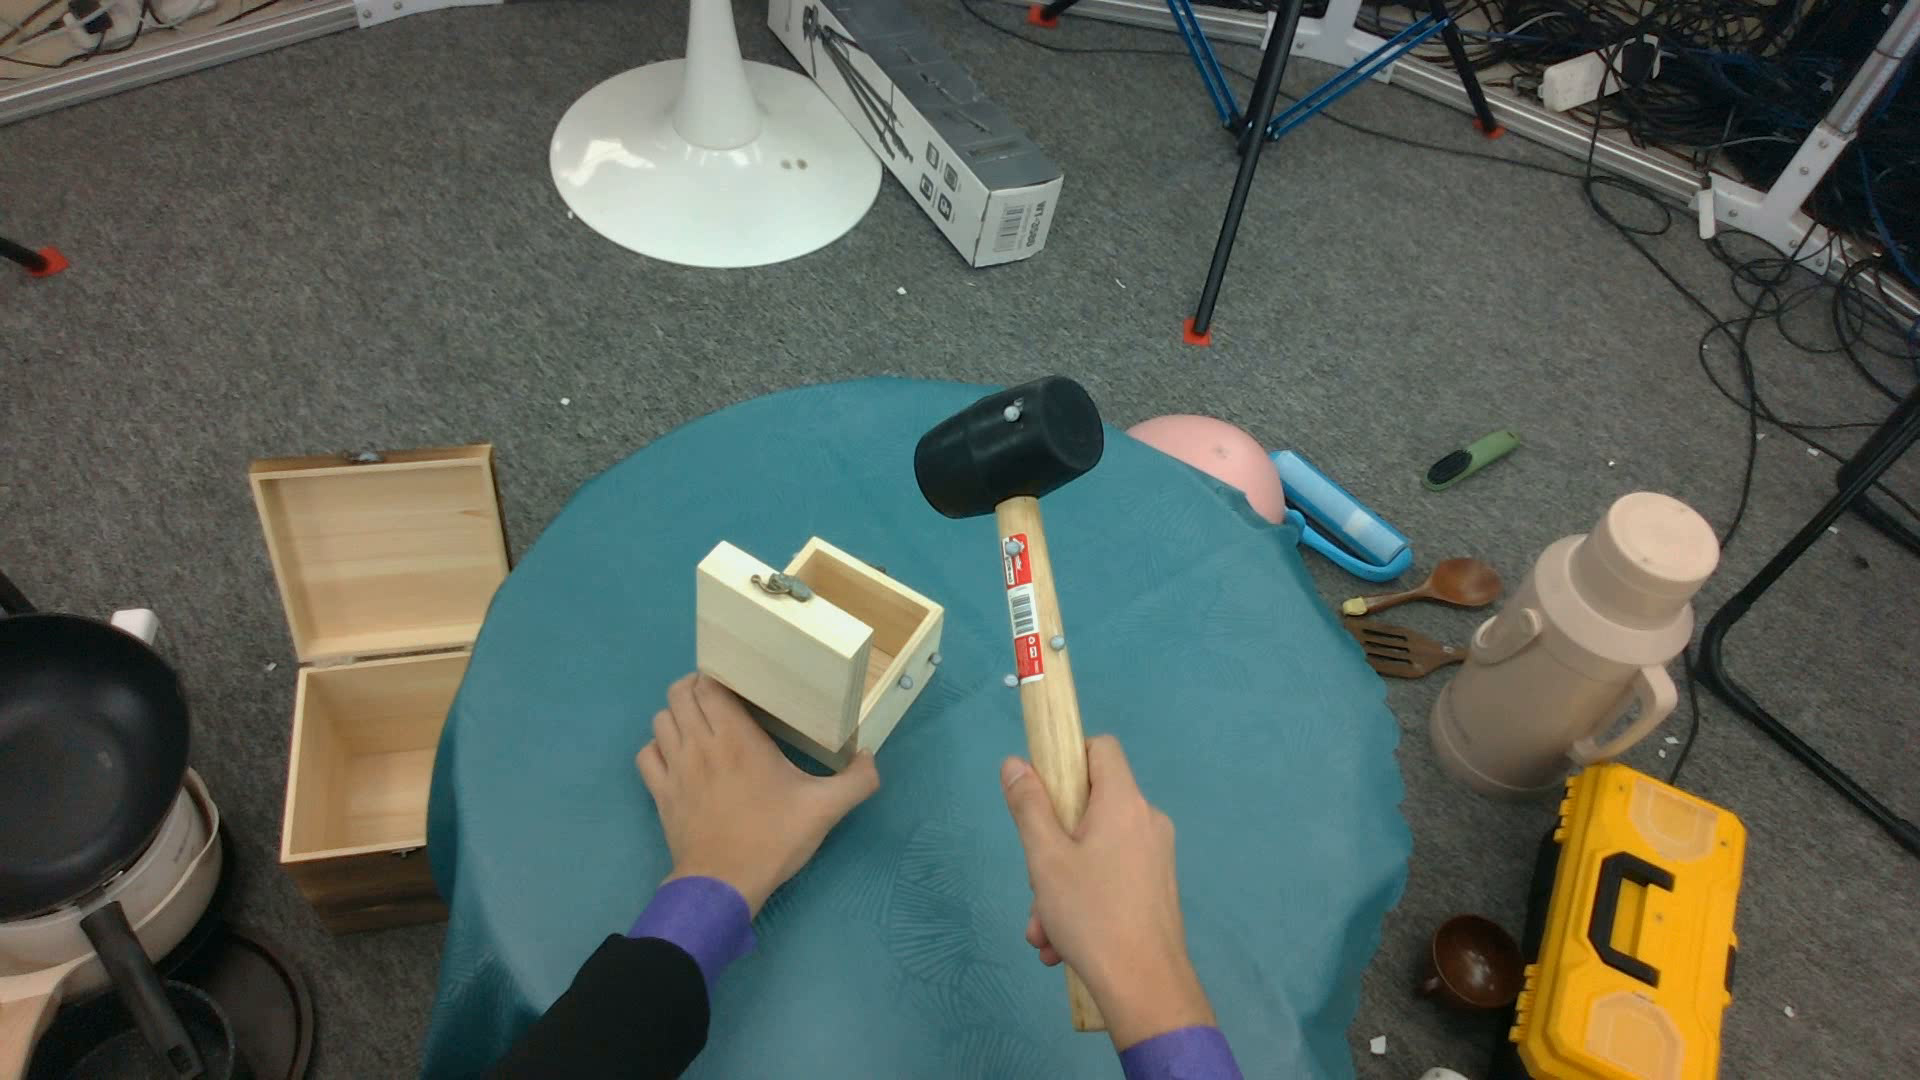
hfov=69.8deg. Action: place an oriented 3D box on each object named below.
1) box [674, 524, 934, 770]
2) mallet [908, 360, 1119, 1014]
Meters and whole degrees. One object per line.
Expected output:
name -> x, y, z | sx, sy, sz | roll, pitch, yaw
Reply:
box -> -0.088, 0.044, 0.835 | 0.102, 0.183, 0.134 | 28, 57, 14
mallet -> 0.036, 0.074, 0.729 | 0.064, 0.101, 0.339 | 7, 71, -40
